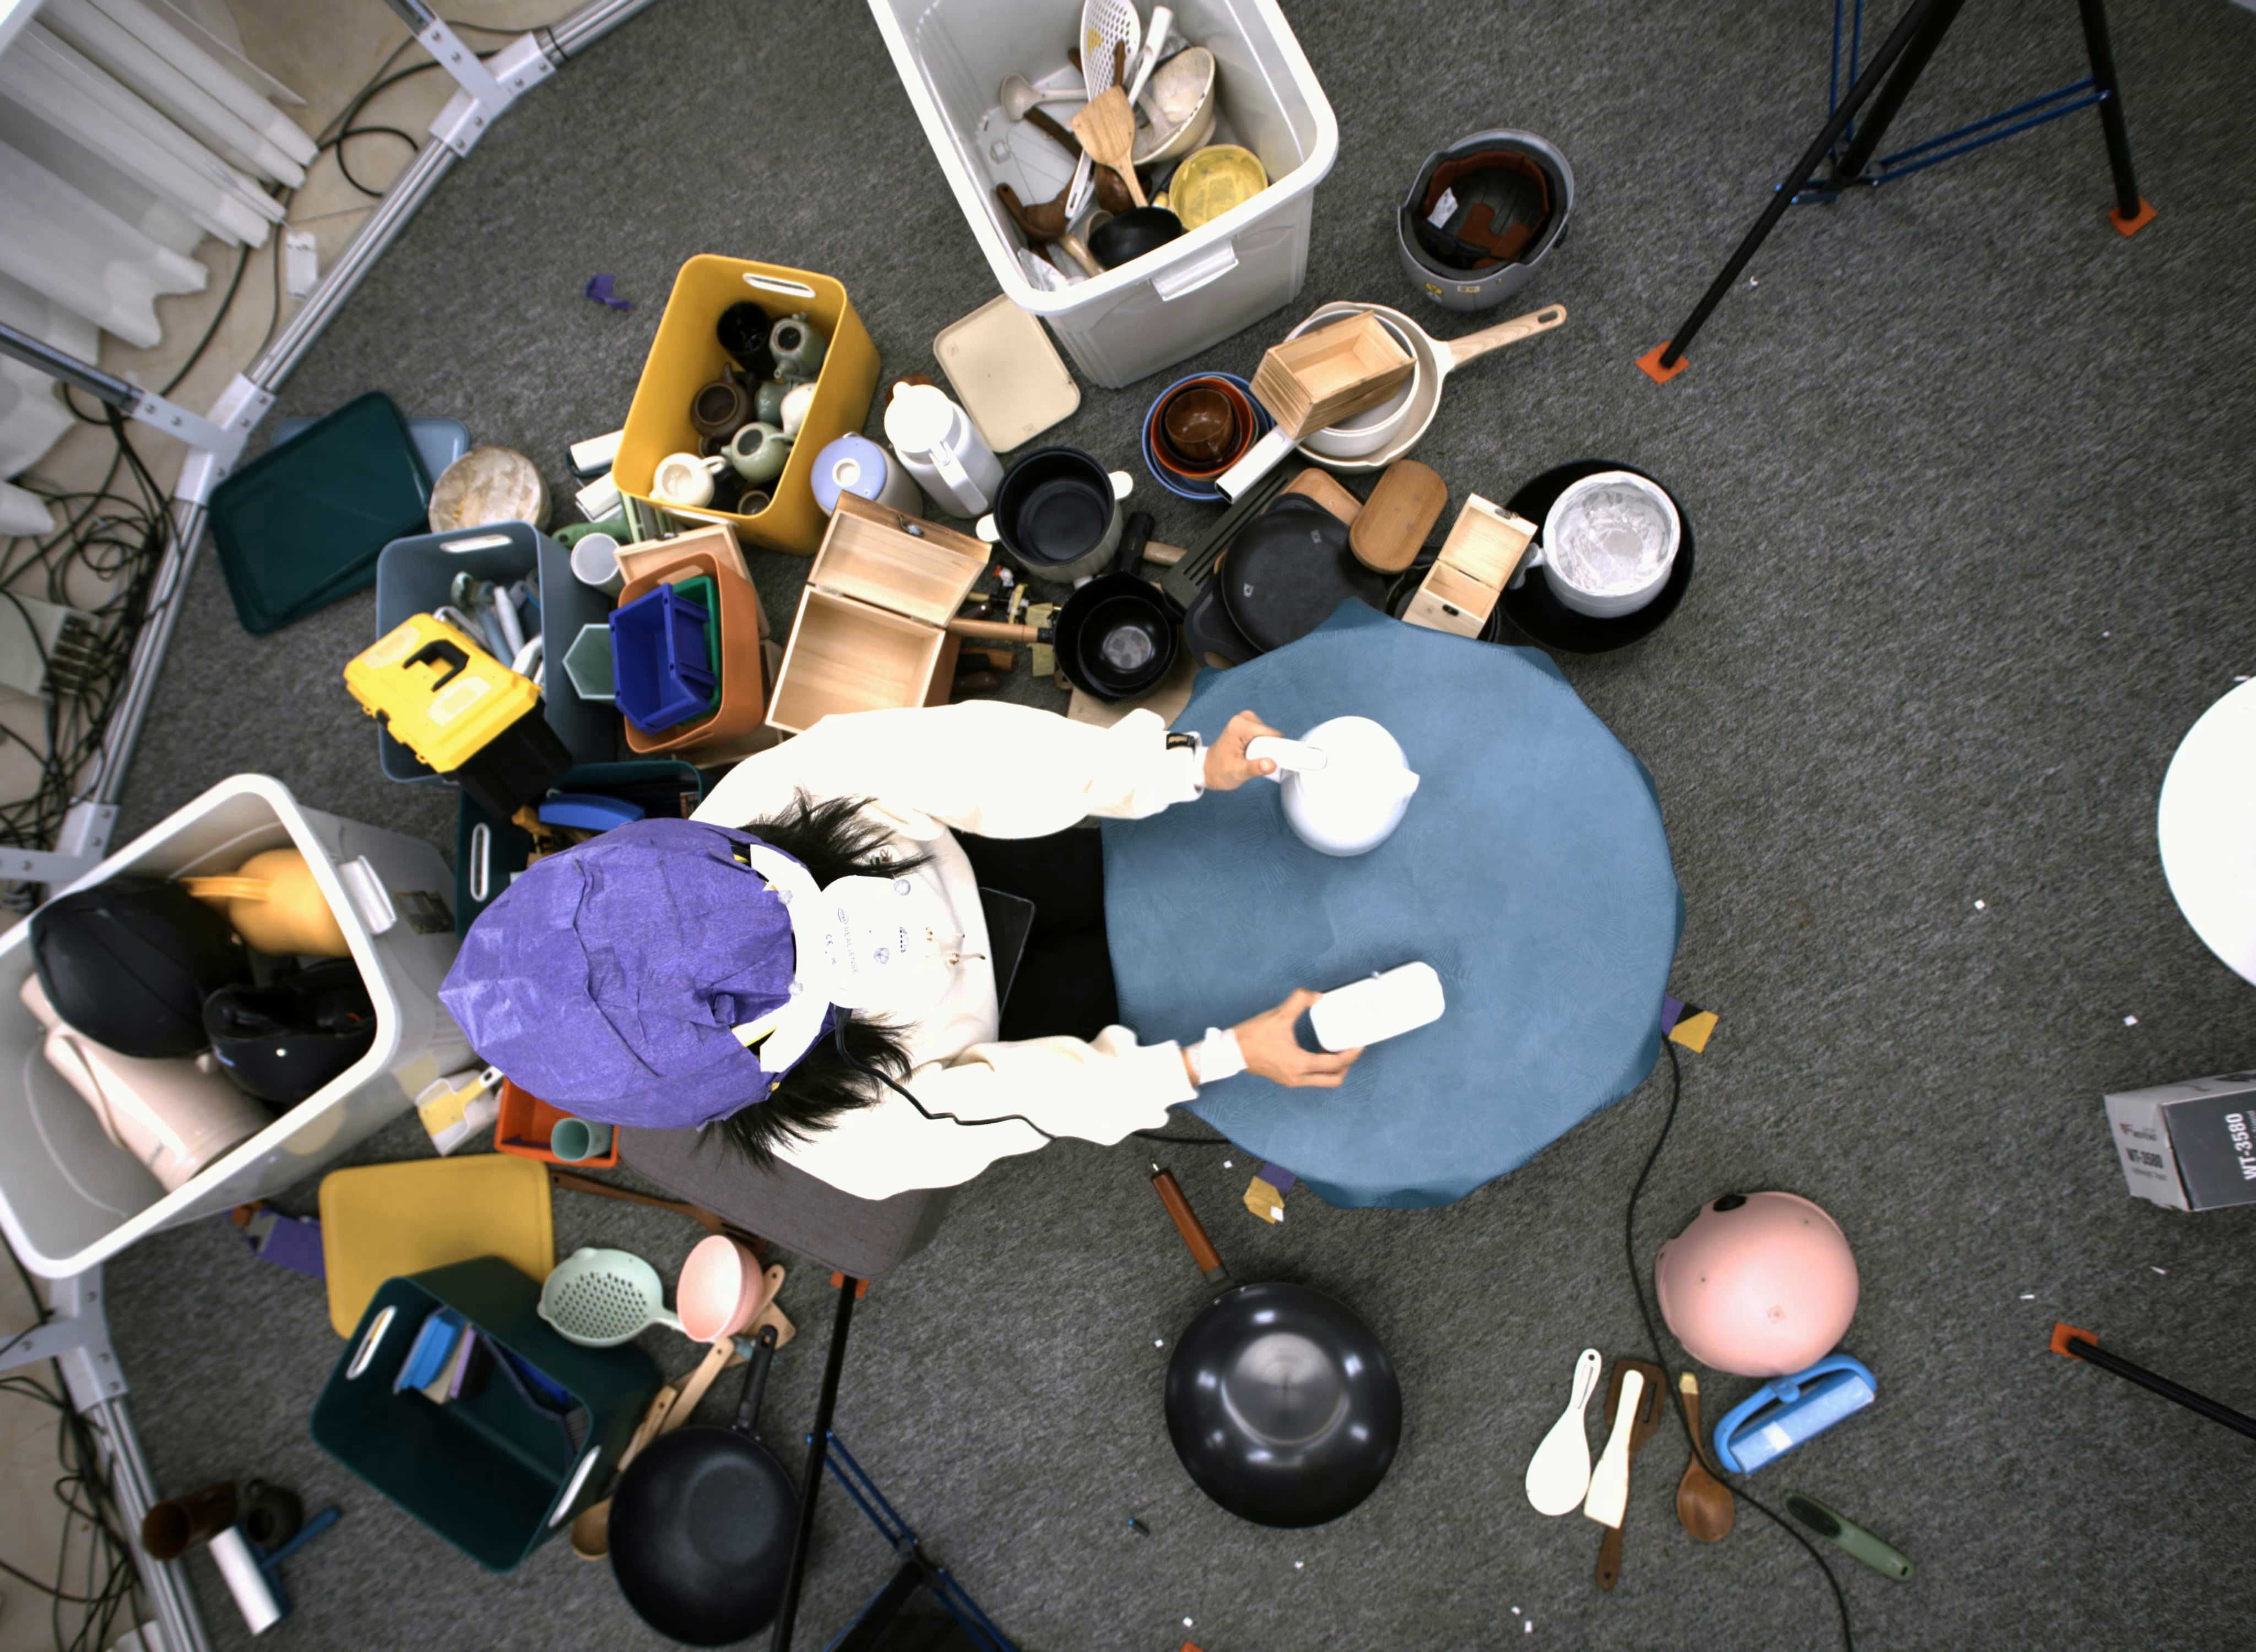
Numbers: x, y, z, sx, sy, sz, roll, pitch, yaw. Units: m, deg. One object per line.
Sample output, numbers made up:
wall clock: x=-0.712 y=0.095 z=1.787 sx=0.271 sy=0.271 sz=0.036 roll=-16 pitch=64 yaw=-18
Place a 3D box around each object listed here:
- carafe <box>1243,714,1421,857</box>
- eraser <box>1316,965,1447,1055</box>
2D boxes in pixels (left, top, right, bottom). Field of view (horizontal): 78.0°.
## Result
carafe: x=0.197 y=-0.049 z=1.351 sx=0.168 sy=0.249 sz=0.132 roll=14 pitch=88 yaw=9
eraser: x=0.256 y=0.183 z=1.403 sx=0.131 sy=0.034 sz=0.064 roll=-18 pitch=107 yaw=0
